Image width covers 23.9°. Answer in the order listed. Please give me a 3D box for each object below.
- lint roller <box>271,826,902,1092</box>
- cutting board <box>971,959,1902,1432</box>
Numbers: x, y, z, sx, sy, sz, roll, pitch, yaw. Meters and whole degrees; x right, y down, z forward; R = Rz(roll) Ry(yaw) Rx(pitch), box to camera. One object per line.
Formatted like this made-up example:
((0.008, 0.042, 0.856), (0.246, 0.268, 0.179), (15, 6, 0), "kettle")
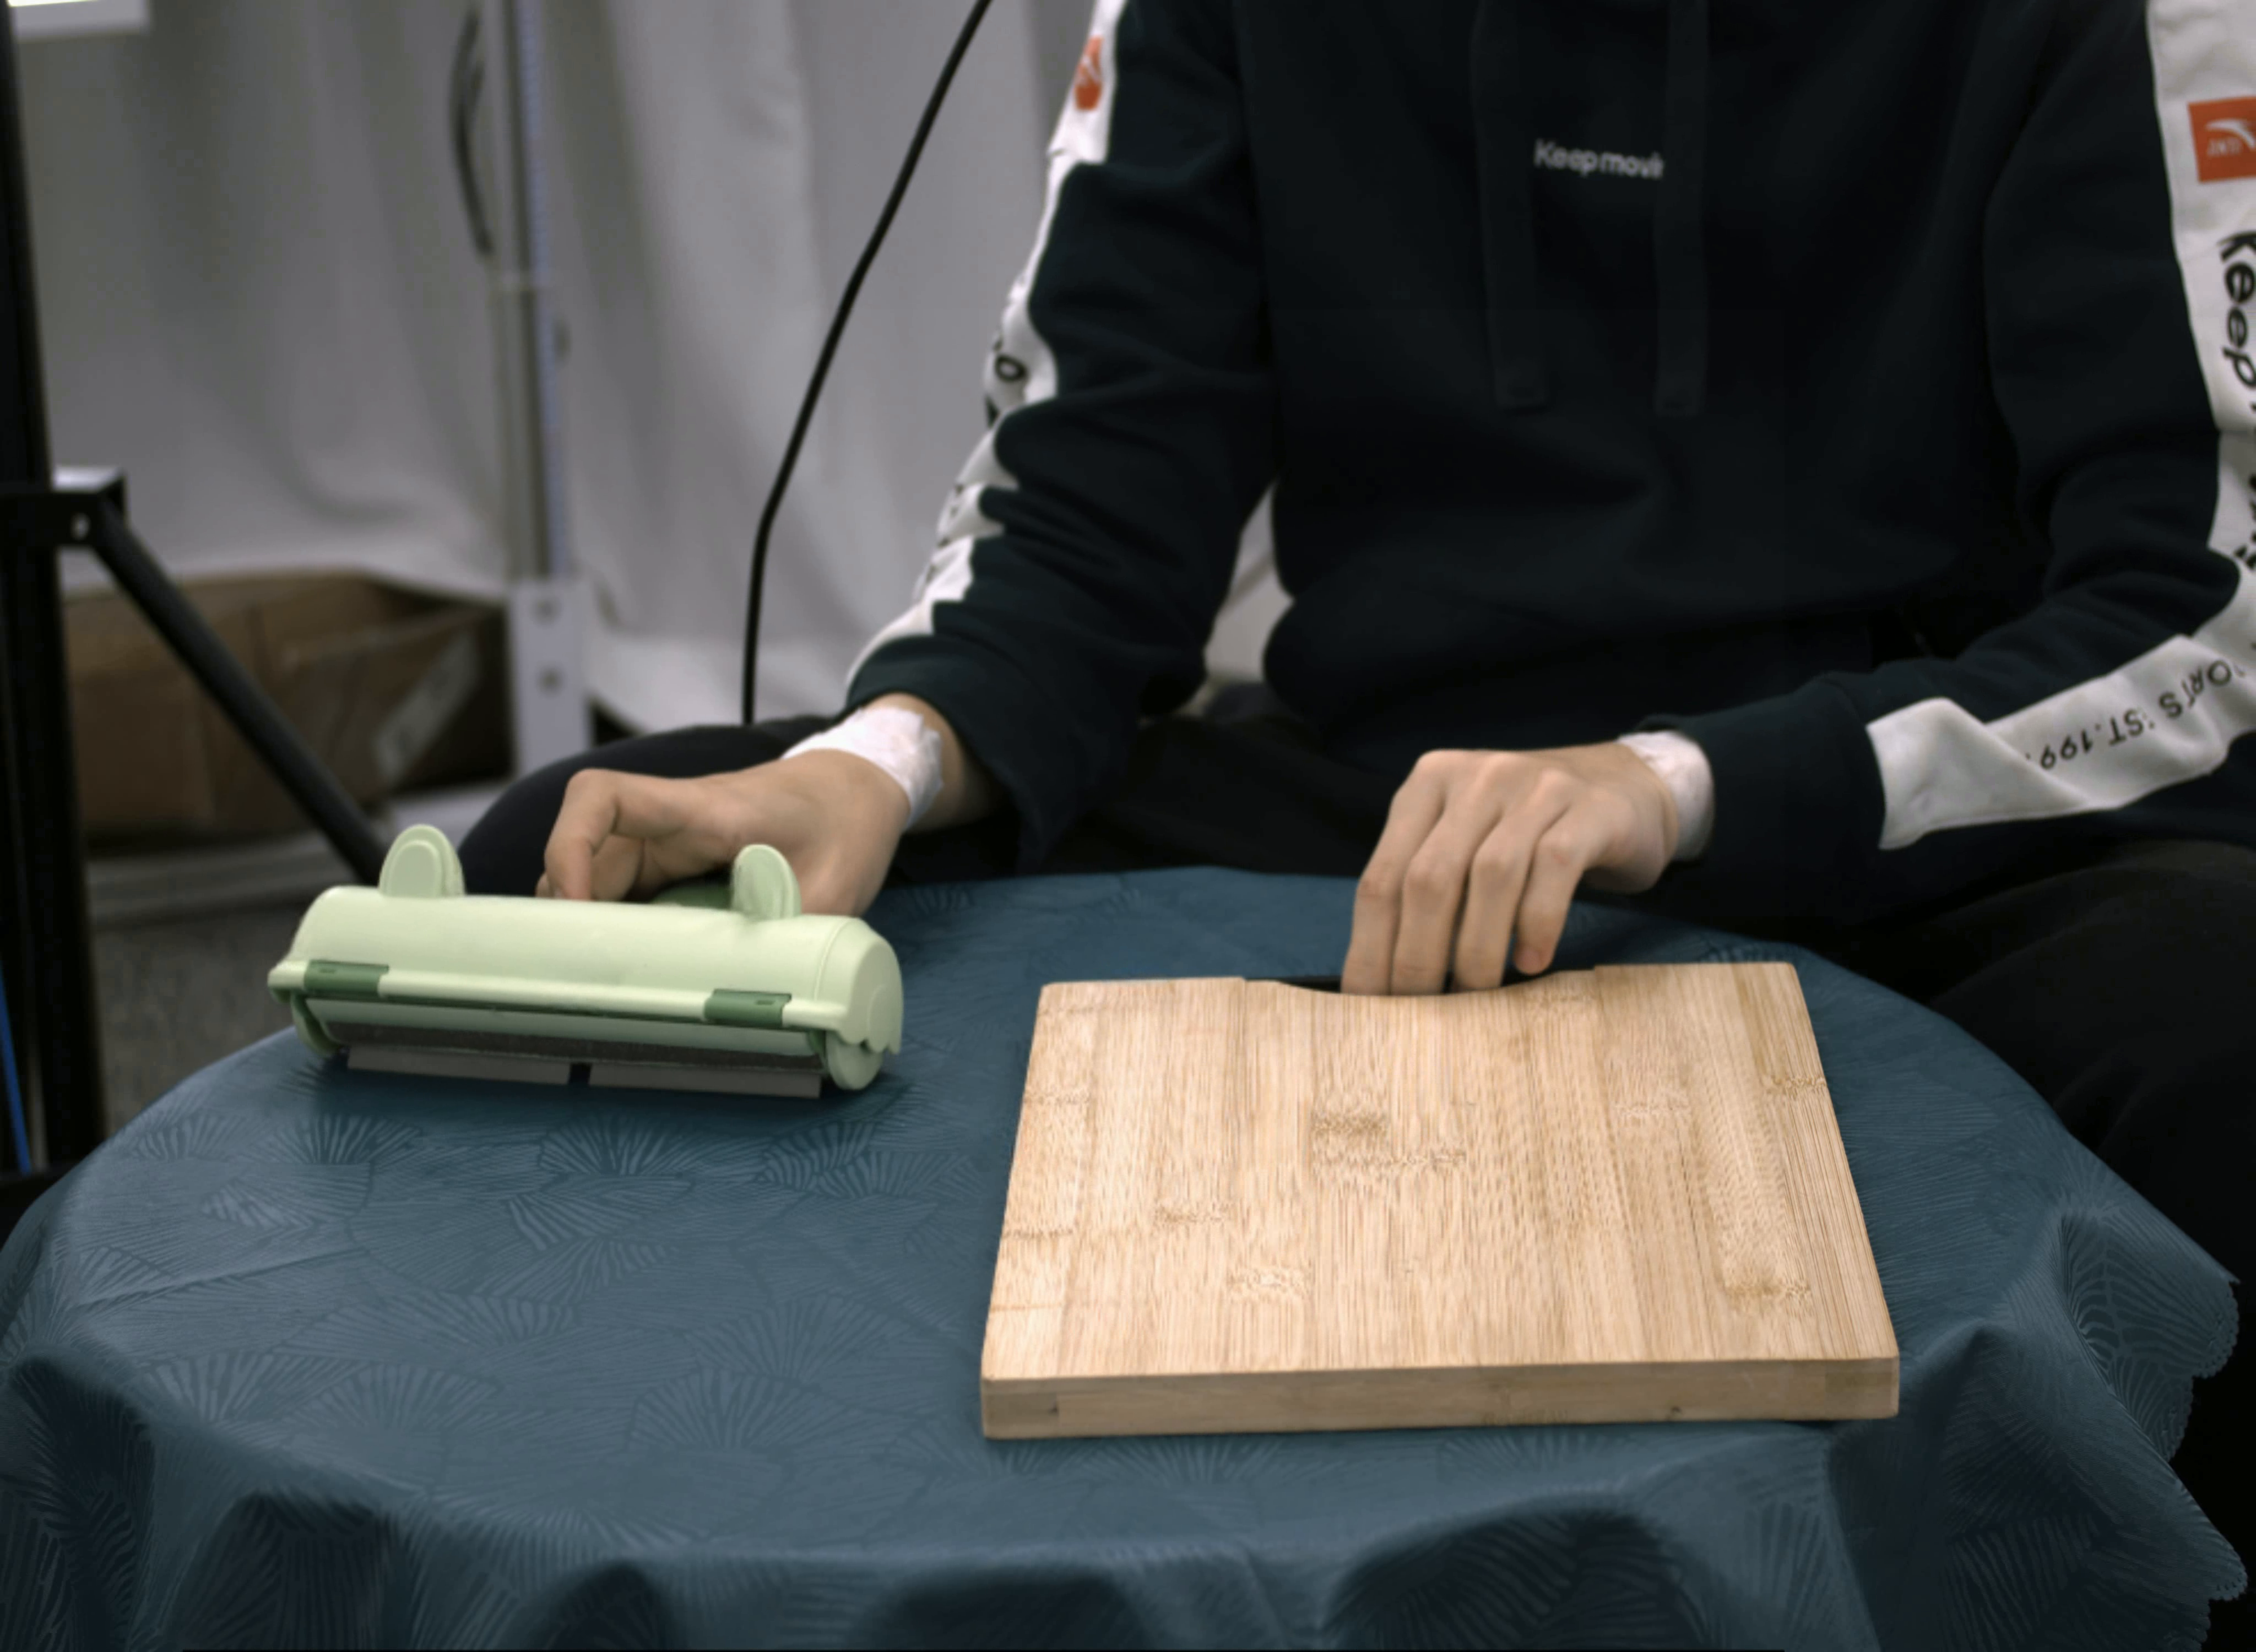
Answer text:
((-0.153, 0.026, 1.730), (0.201, 0.082, 0.181), (3, 21, 20), "lint roller")
((0.088, 0.102, 1.534), (0.250, 0.023, 0.349), (-2, 16, 3), "cutting board")
